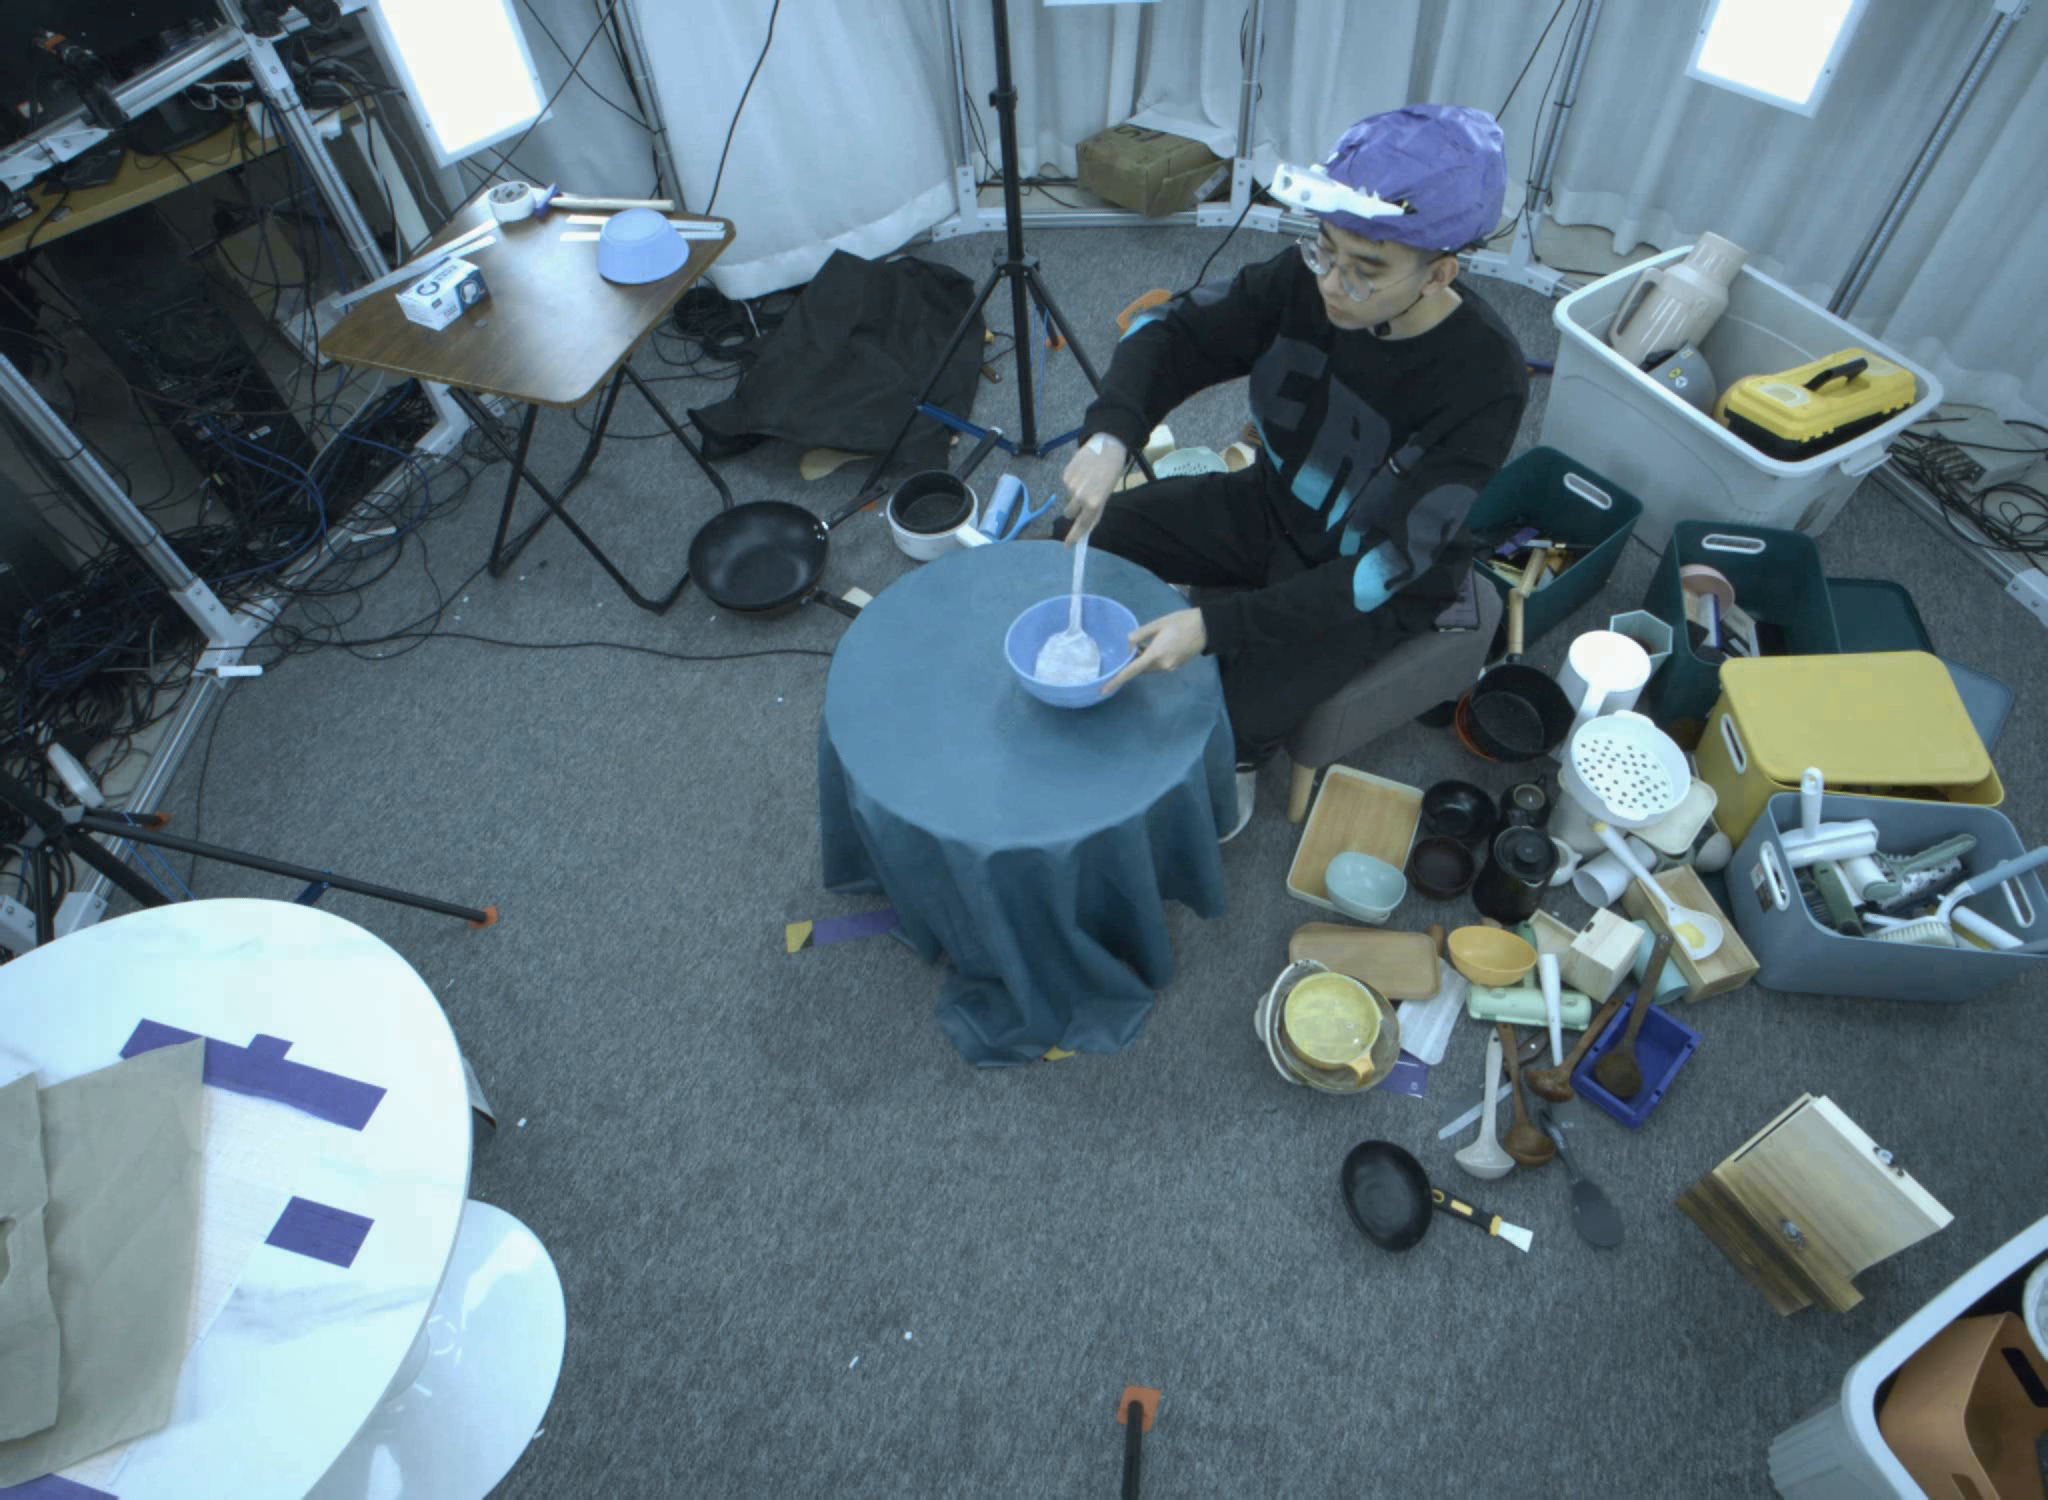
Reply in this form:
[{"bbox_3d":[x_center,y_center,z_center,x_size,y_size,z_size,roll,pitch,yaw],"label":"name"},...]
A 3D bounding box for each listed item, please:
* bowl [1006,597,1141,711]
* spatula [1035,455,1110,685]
[{"bbox_3d":[0.078,-0.126,1.809,0.196,0.097,0.194,-4,49,6],"label":"bowl"},{"bbox_3d":[0.083,-0.247,1.777,0.097,0.366,0.045,11,16,17],"label":"spatula"}]
